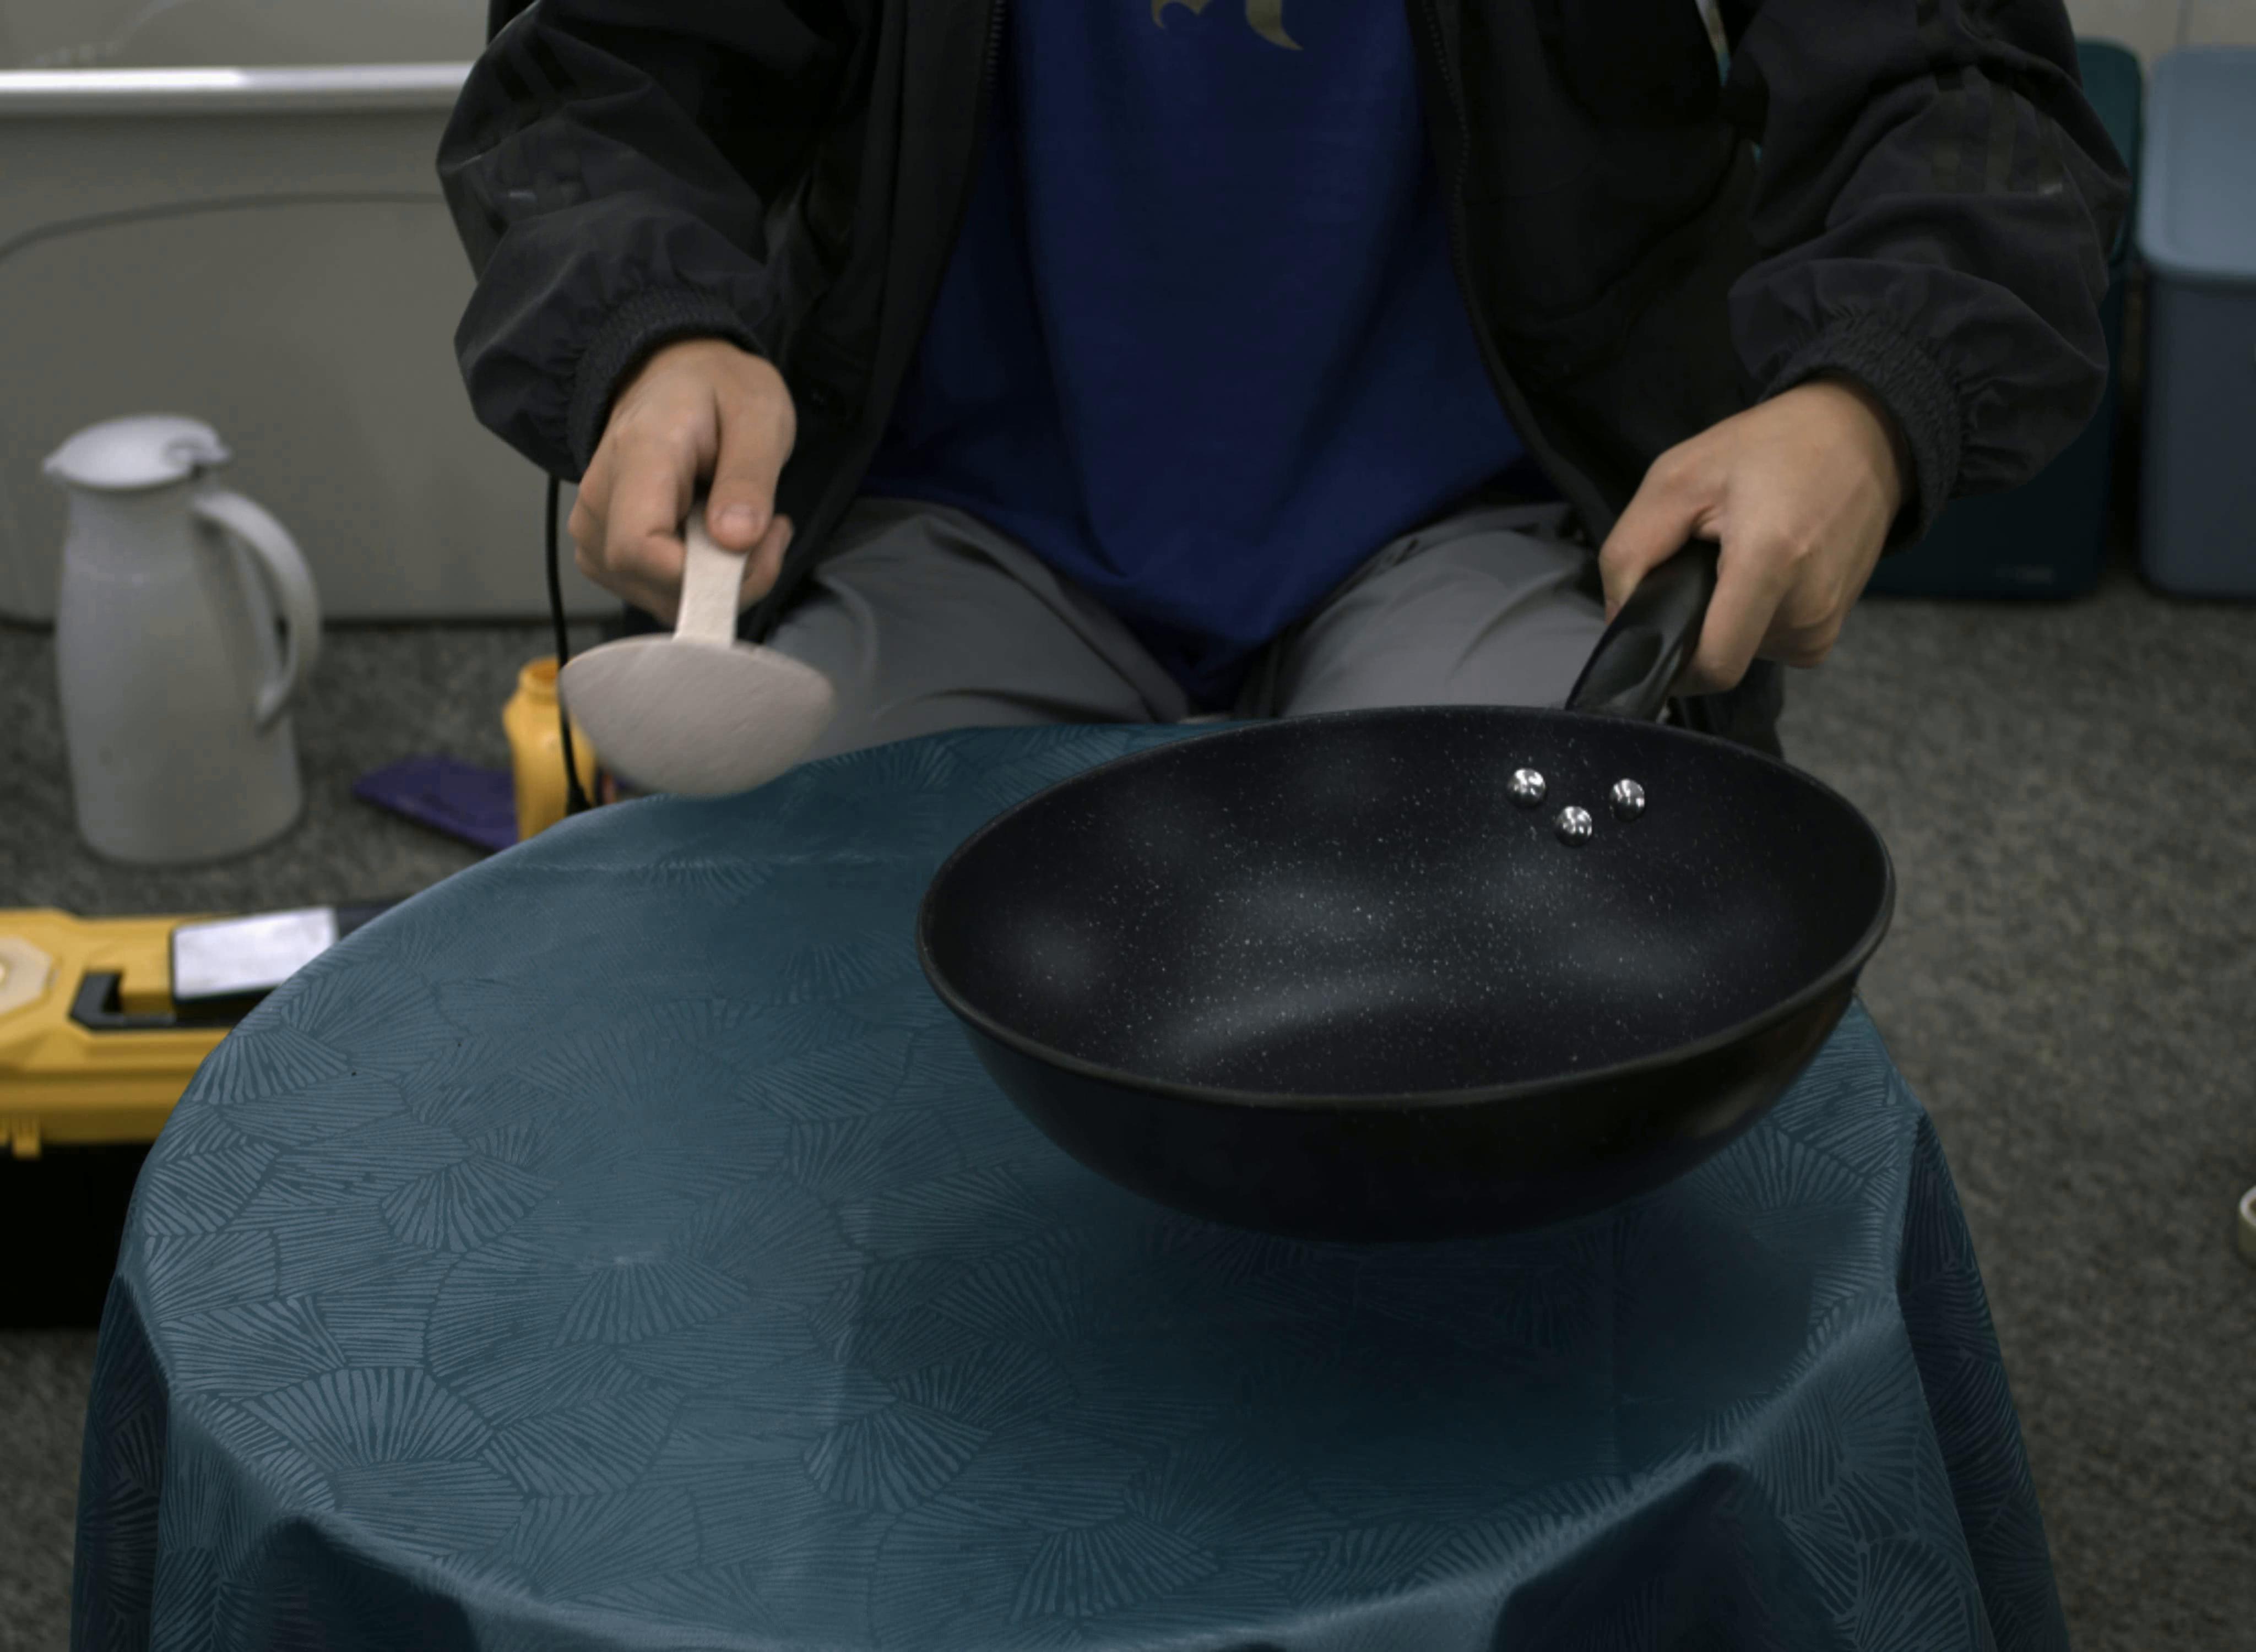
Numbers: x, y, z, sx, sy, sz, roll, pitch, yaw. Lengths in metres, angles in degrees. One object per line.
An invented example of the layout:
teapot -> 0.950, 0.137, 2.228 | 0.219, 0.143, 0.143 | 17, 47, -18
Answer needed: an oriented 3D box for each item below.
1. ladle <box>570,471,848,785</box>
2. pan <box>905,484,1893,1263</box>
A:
ladle -> -0.134, -0.093, 1.893 | 0.089, 0.068, 0.279 | 4, 26, -2
pan -> 0.123, 0.018, 1.845 | 0.308, 0.110, 0.484 | 8, 26, 25
